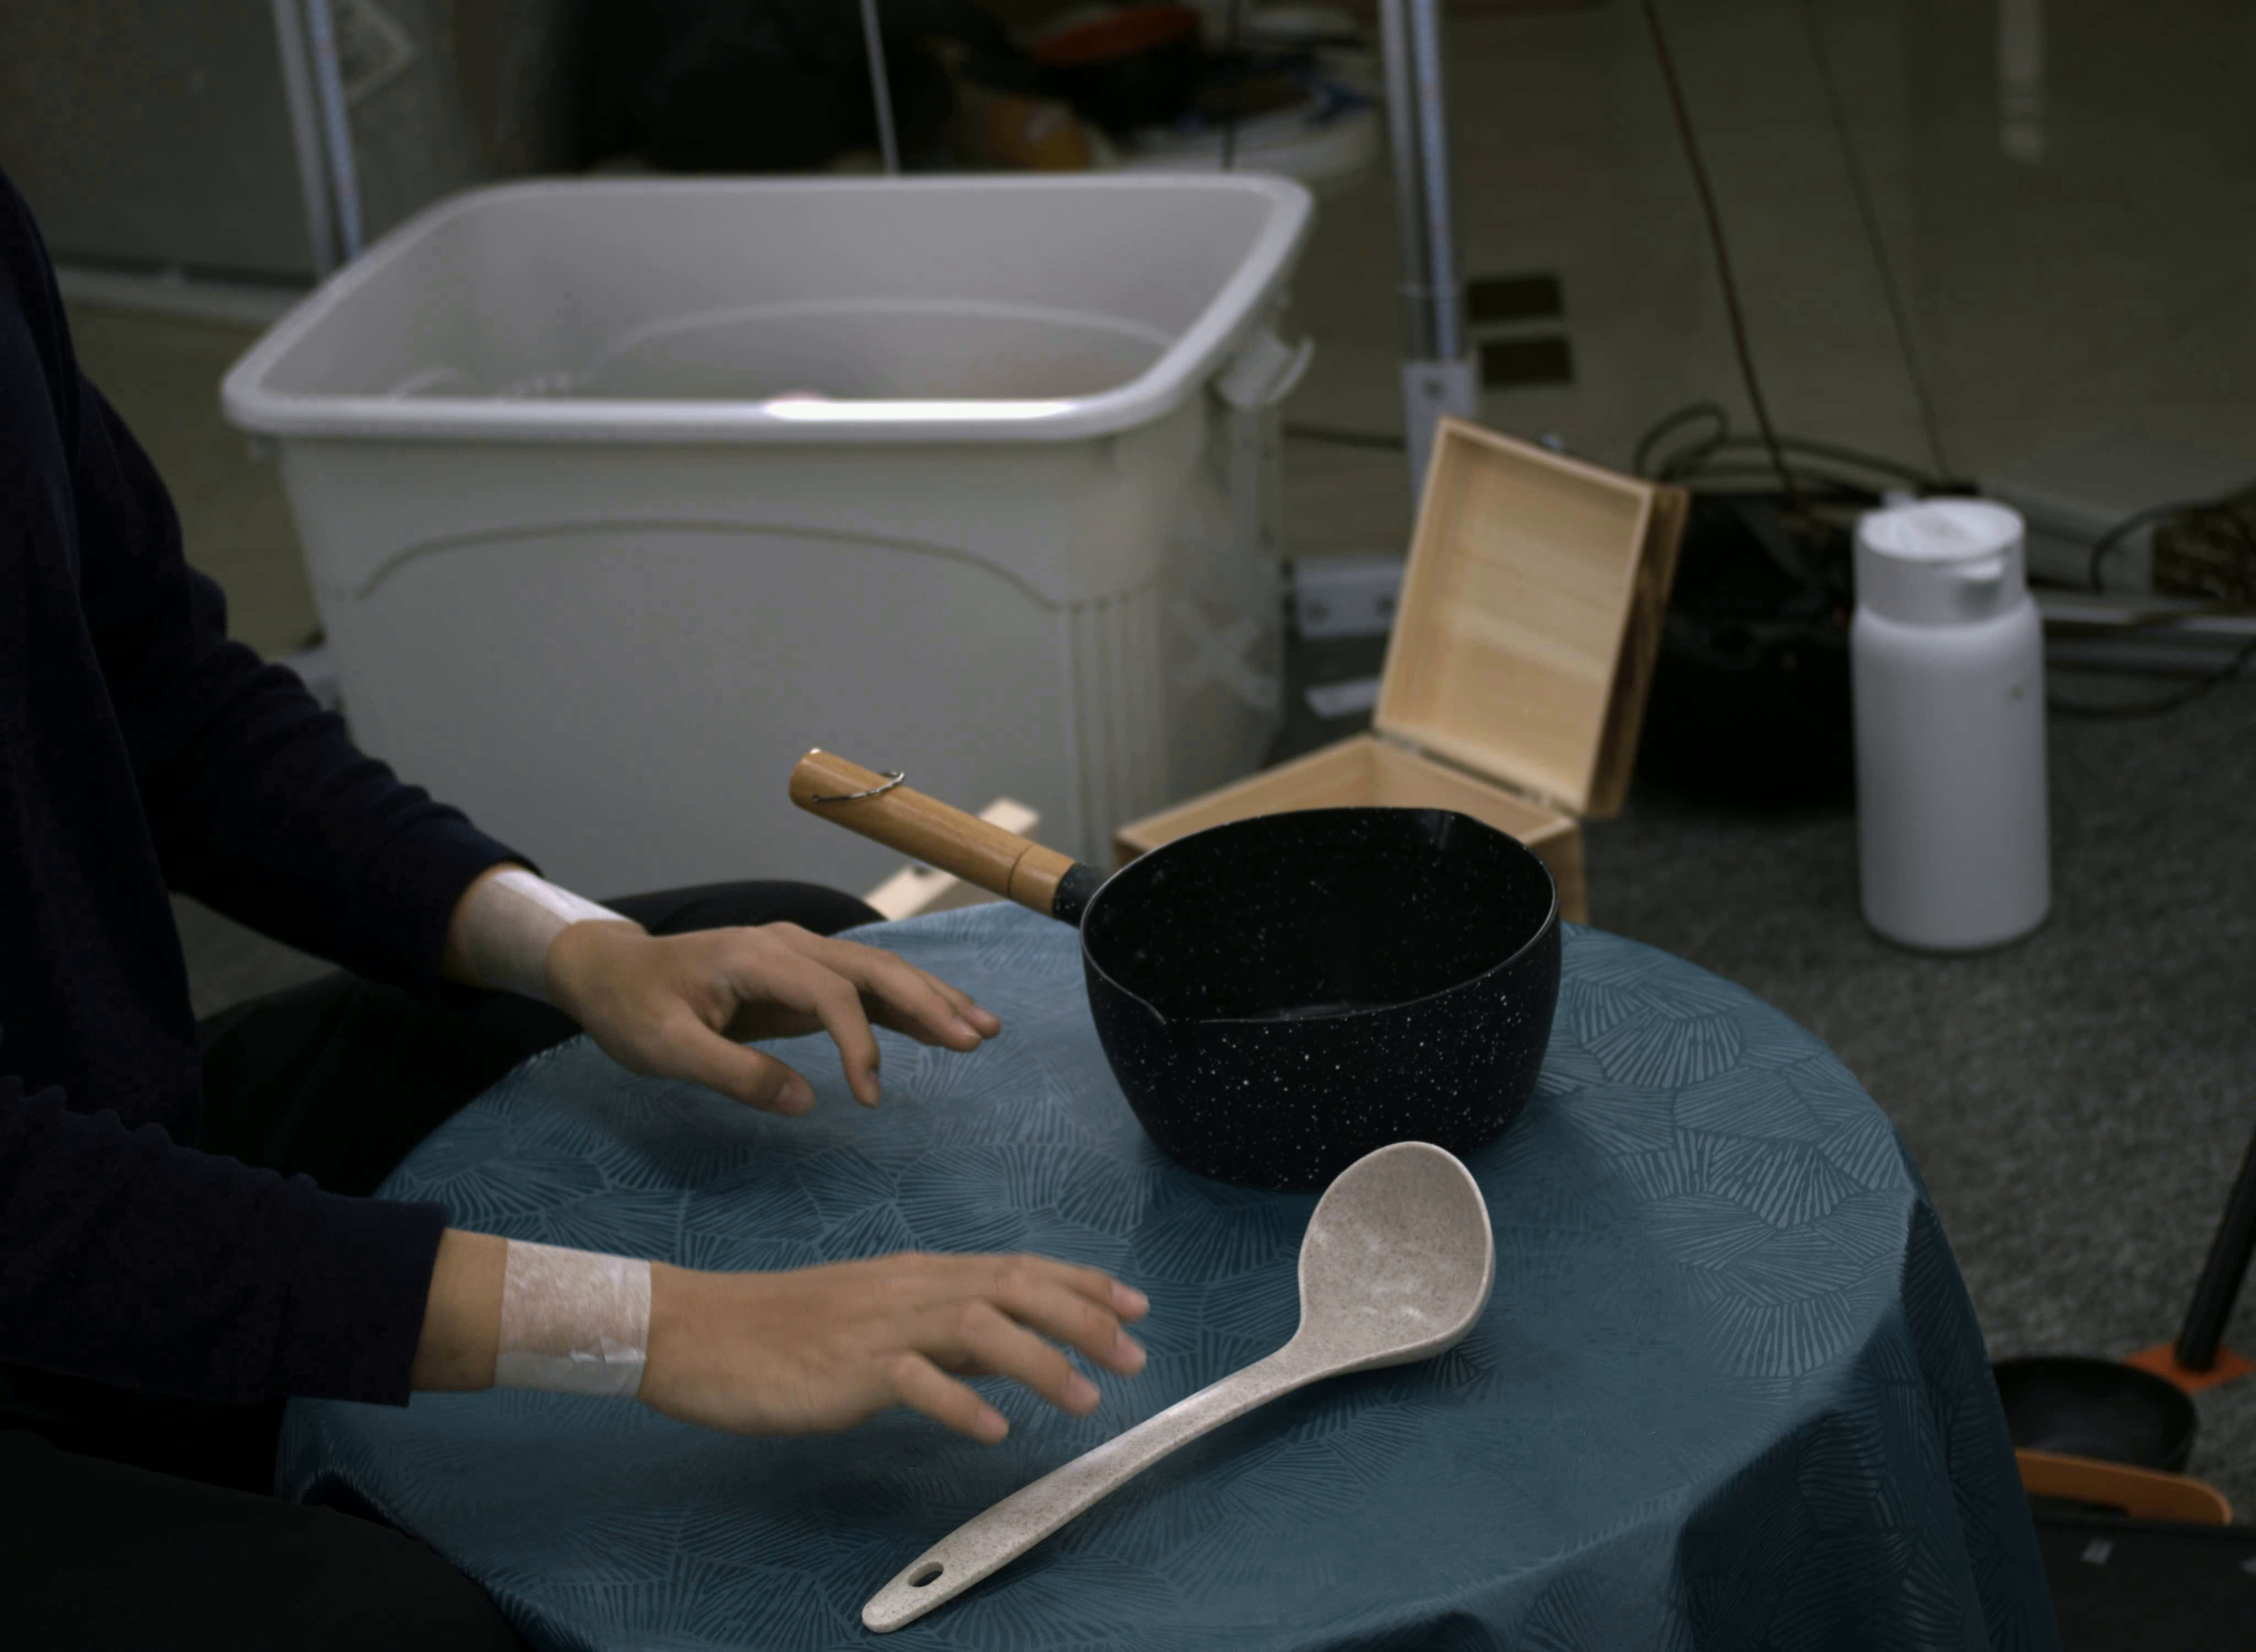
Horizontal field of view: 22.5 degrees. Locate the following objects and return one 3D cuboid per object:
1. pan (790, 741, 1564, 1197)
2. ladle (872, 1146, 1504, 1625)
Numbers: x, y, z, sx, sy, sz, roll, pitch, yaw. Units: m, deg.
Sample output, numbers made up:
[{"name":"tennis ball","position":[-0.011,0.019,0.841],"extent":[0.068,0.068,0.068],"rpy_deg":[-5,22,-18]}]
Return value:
[{"name":"pan","position":[0.010,0.046,2.213],"extent":[0.341,0.110,0.205],"rpy_deg":[12,32,31]},{"name":"ladle","position":[0.018,0.190,1.949],"extent":[0.273,0.070,0.088],"rpy_deg":[-24,38,-36]}]
